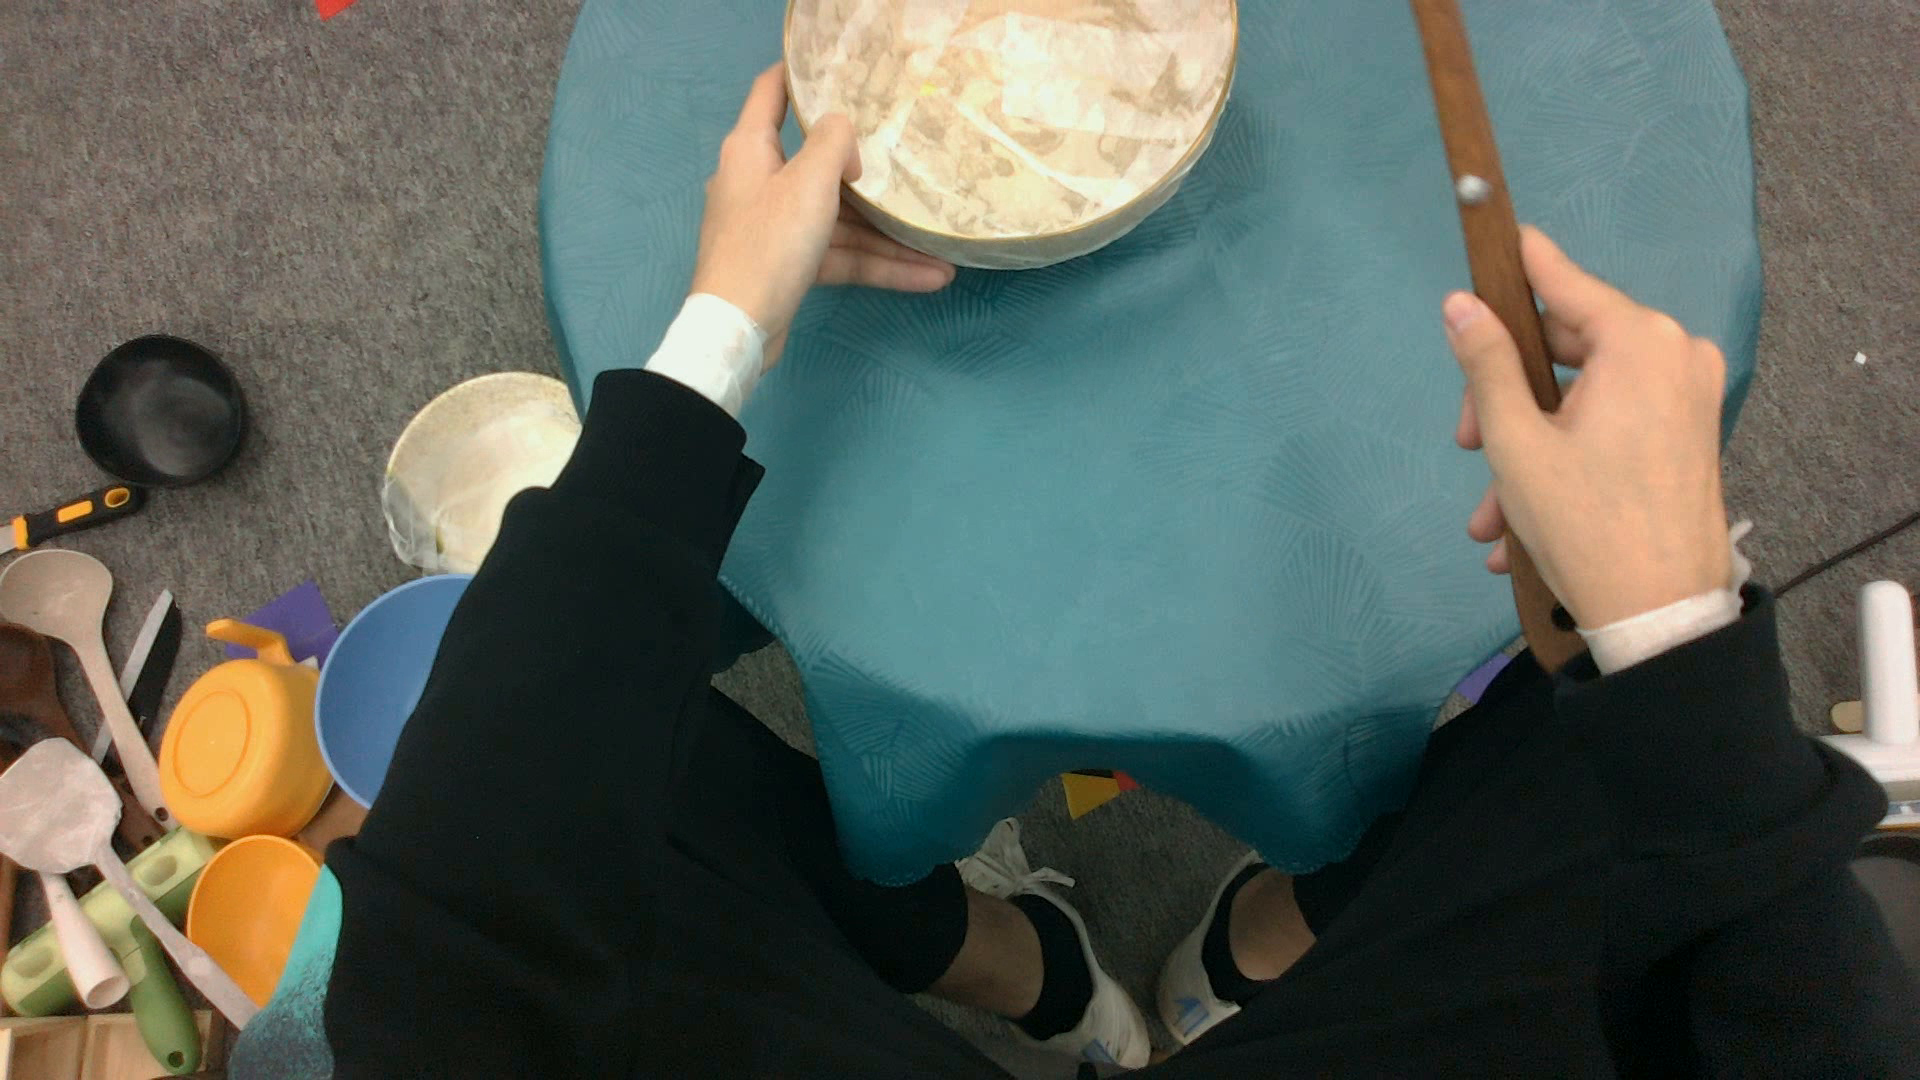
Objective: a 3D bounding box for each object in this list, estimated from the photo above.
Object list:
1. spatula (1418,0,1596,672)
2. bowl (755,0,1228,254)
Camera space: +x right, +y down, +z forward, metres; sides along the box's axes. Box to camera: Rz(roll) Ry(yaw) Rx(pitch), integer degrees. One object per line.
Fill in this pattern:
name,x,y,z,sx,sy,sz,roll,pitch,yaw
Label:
spatula,0.188,-0.144,0.507,0.096,0.016,0.386,-10,78,25
bowl,0.013,-0.215,0.647,0.214,0.094,0.215,0,75,1
